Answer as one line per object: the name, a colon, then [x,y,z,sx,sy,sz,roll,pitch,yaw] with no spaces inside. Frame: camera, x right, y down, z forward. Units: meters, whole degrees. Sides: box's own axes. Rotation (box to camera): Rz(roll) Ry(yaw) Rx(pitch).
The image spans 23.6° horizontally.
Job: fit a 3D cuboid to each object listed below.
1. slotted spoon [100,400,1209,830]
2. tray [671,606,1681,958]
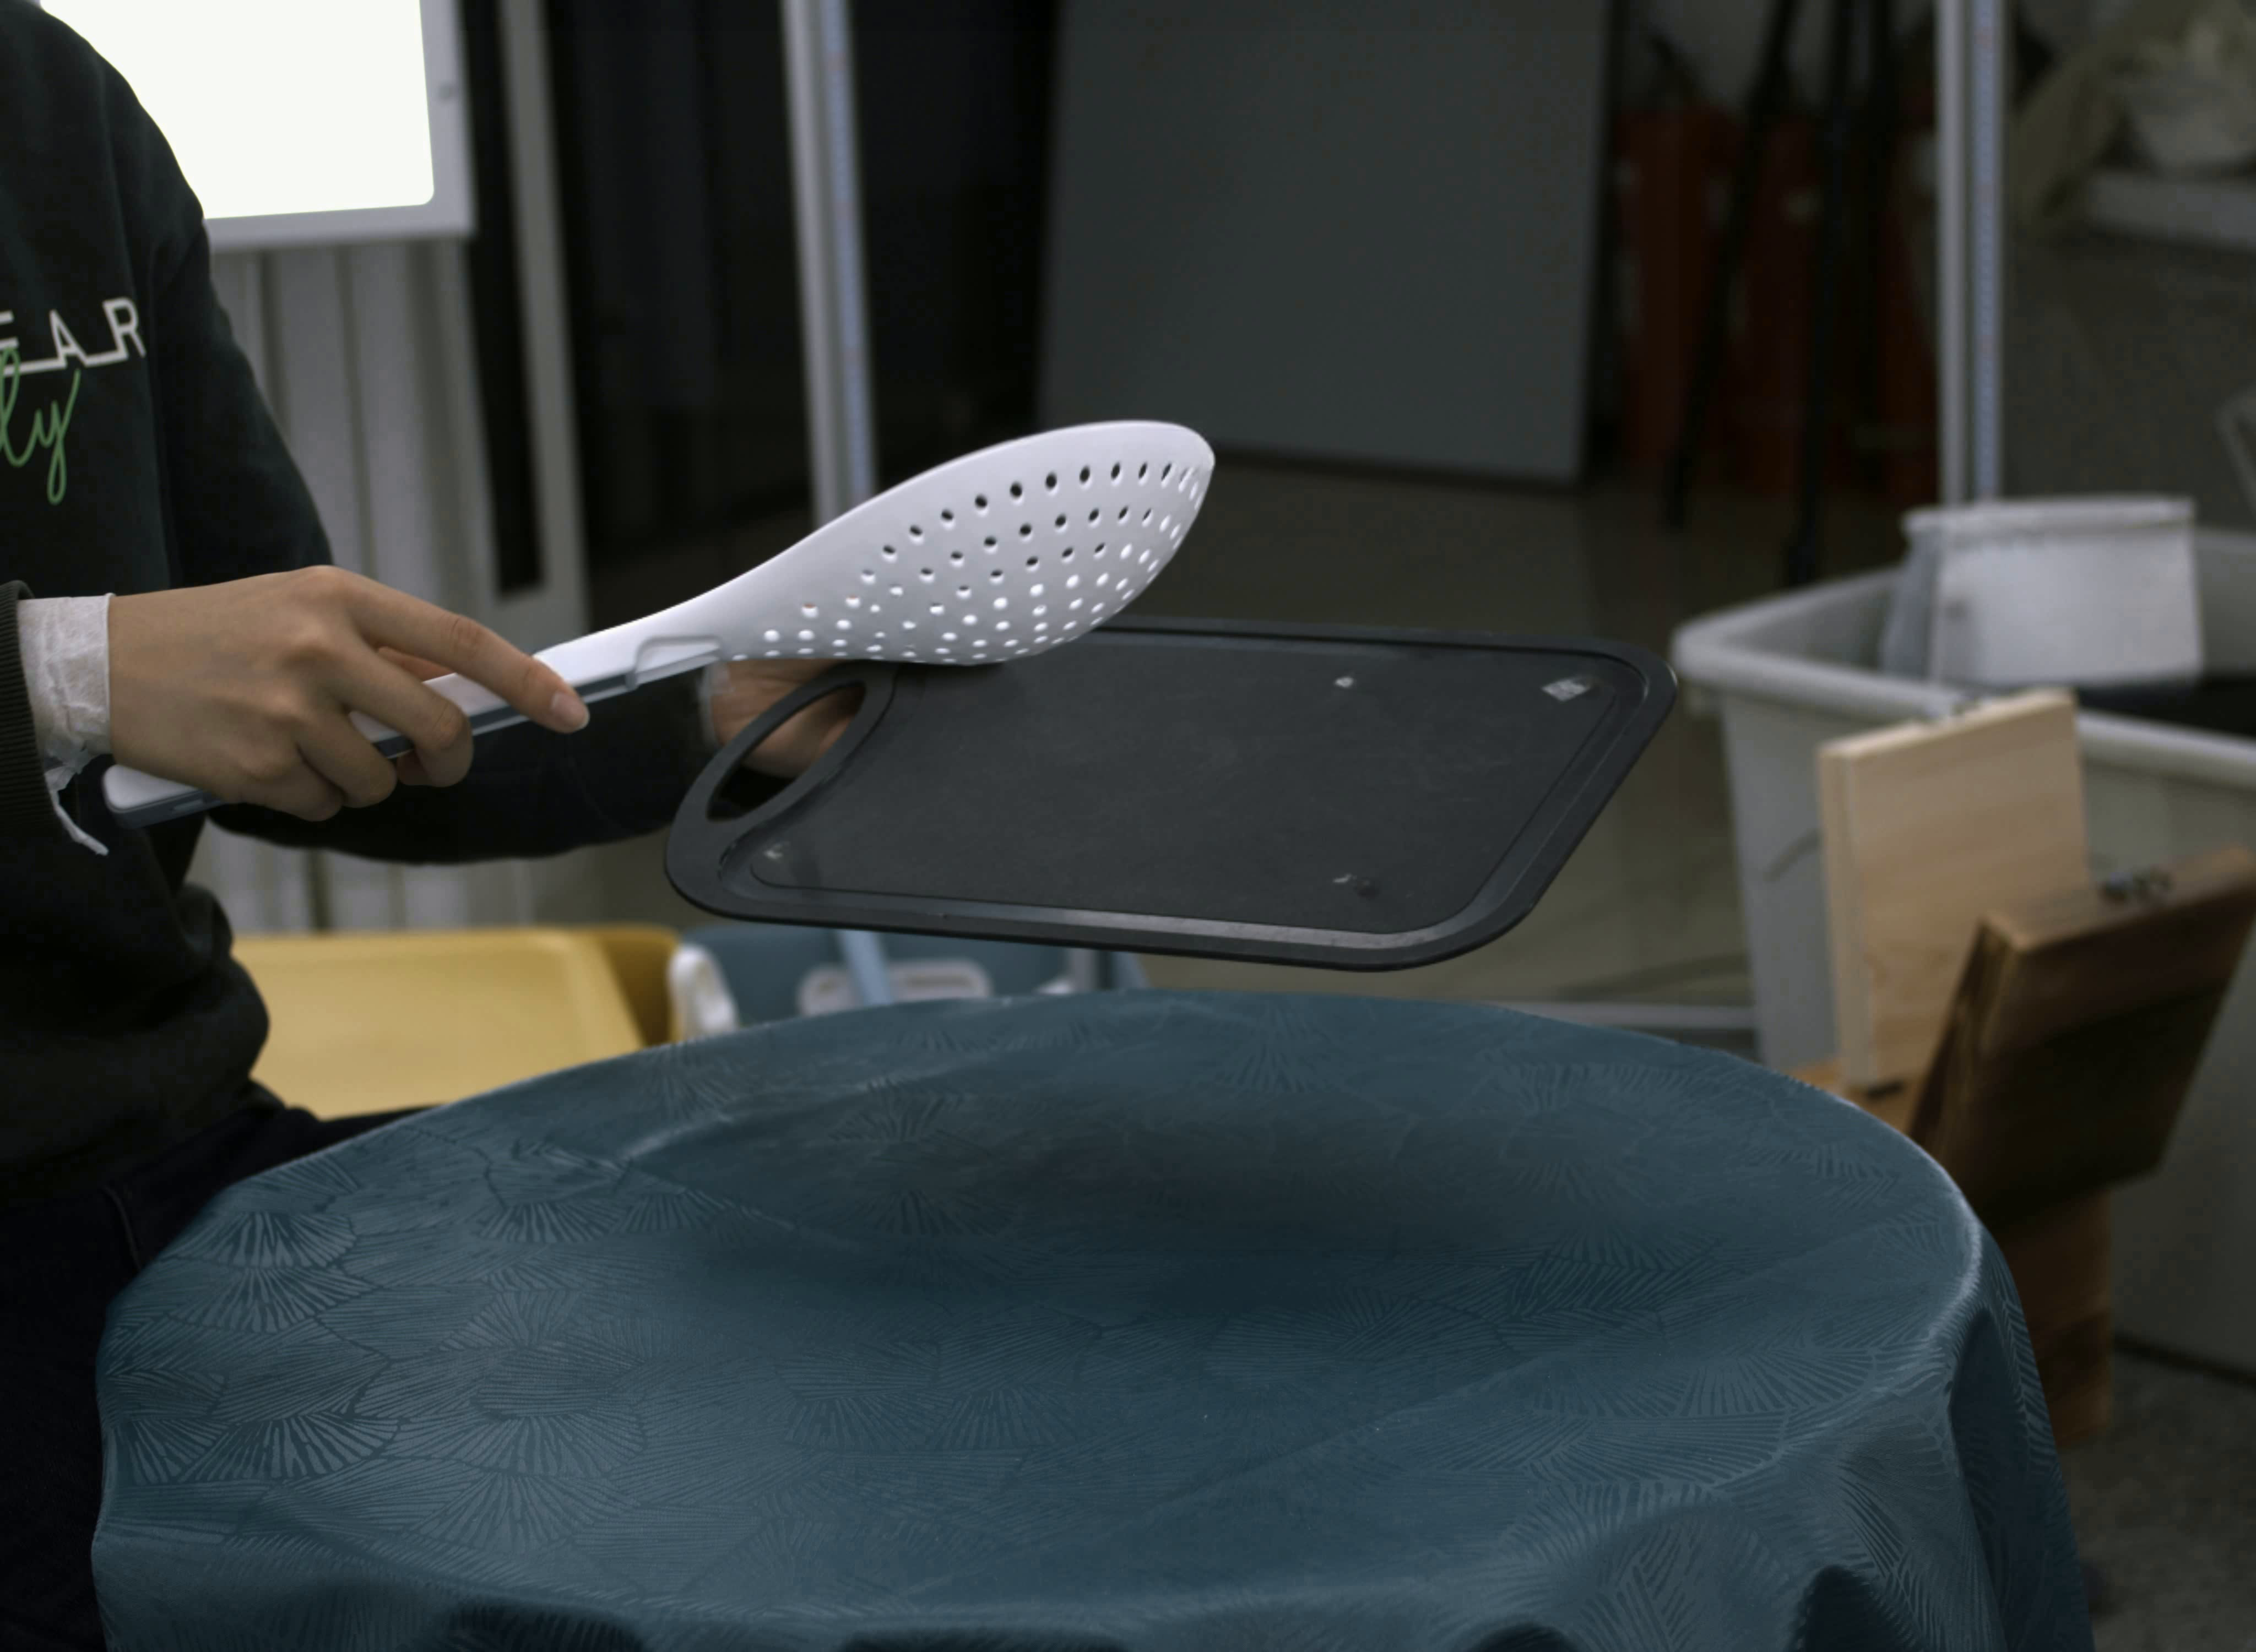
slotted spoon: [-0.139,-0.058,1.624,0.345,0.046,0.136,-13,-15,-3]
tray: [0.008,-0.019,1.762,0.326,0.010,0.209,3,32,28]
